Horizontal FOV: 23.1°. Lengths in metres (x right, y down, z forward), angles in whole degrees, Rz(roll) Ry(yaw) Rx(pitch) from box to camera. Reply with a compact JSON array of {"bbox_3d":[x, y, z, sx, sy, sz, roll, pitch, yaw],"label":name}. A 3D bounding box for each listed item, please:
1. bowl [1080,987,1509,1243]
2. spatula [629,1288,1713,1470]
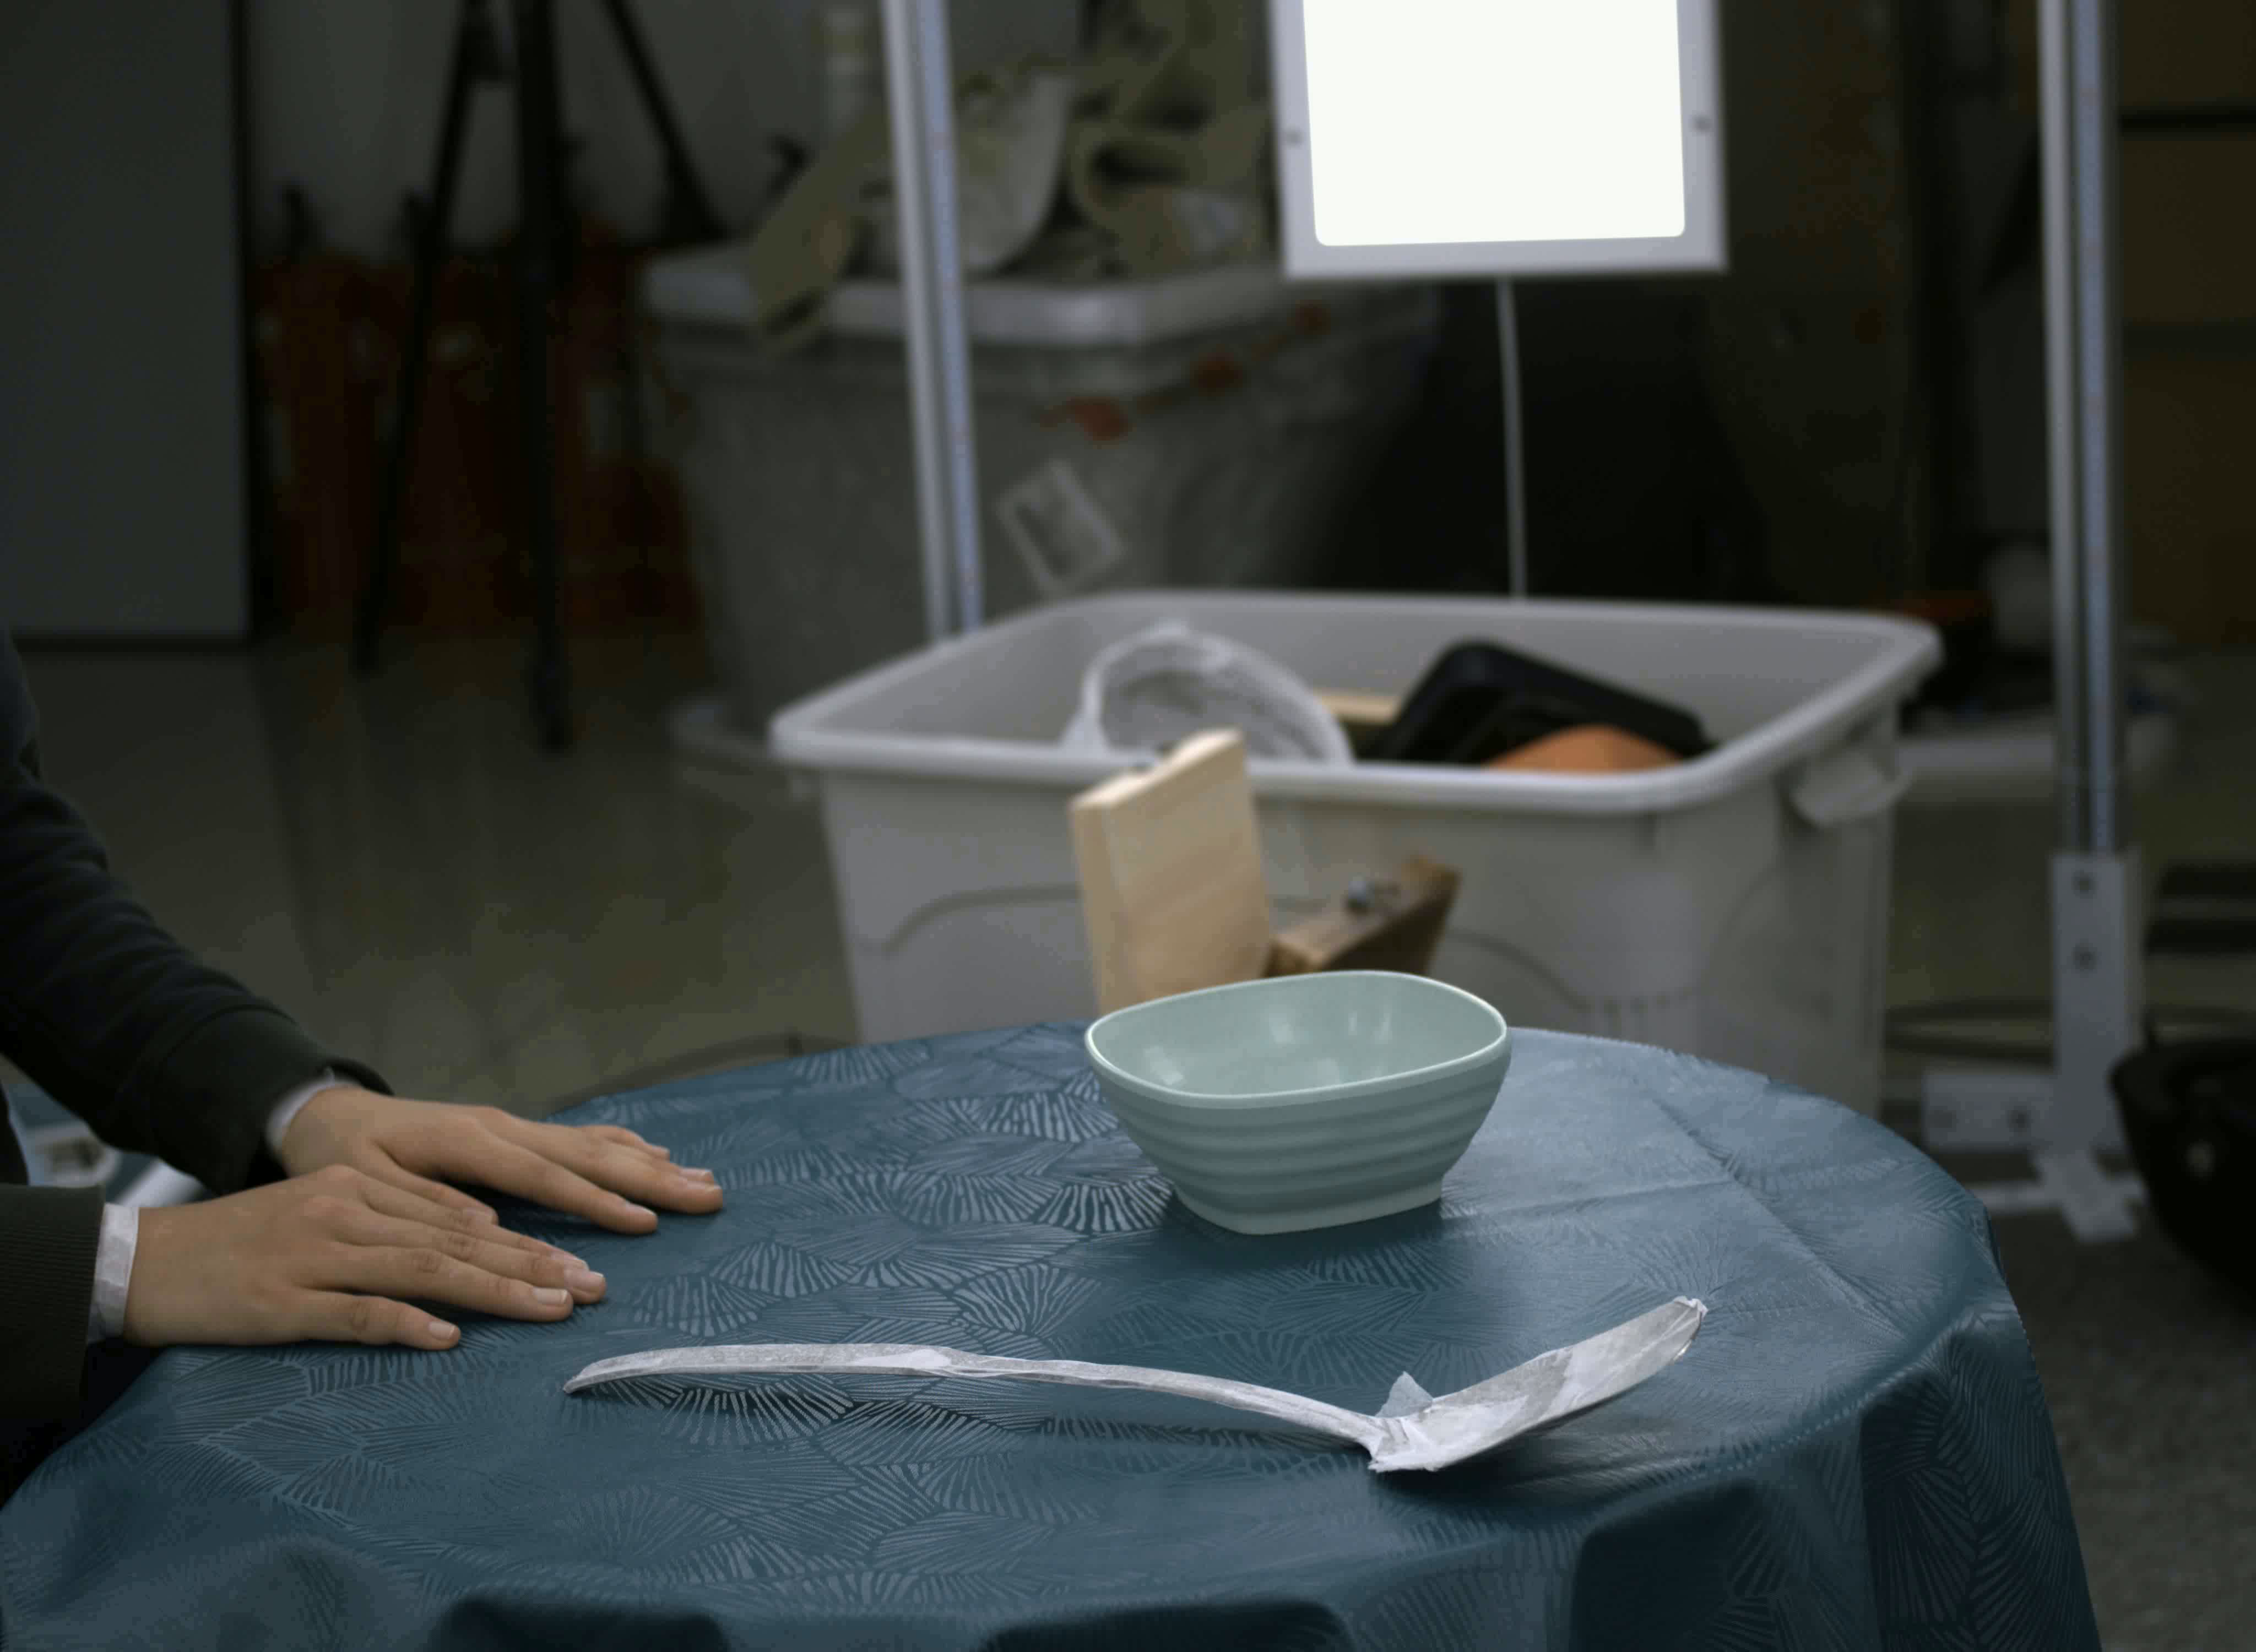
[{"bbox_3d":[0.058,0.101,1.875,0.151,0.059,0.151,-4,13,-1],"label":"bowl"},{"bbox_3d":[0.000,0.162,1.670,0.371,0.045,0.096,2,17,26],"label":"spatula"}]
